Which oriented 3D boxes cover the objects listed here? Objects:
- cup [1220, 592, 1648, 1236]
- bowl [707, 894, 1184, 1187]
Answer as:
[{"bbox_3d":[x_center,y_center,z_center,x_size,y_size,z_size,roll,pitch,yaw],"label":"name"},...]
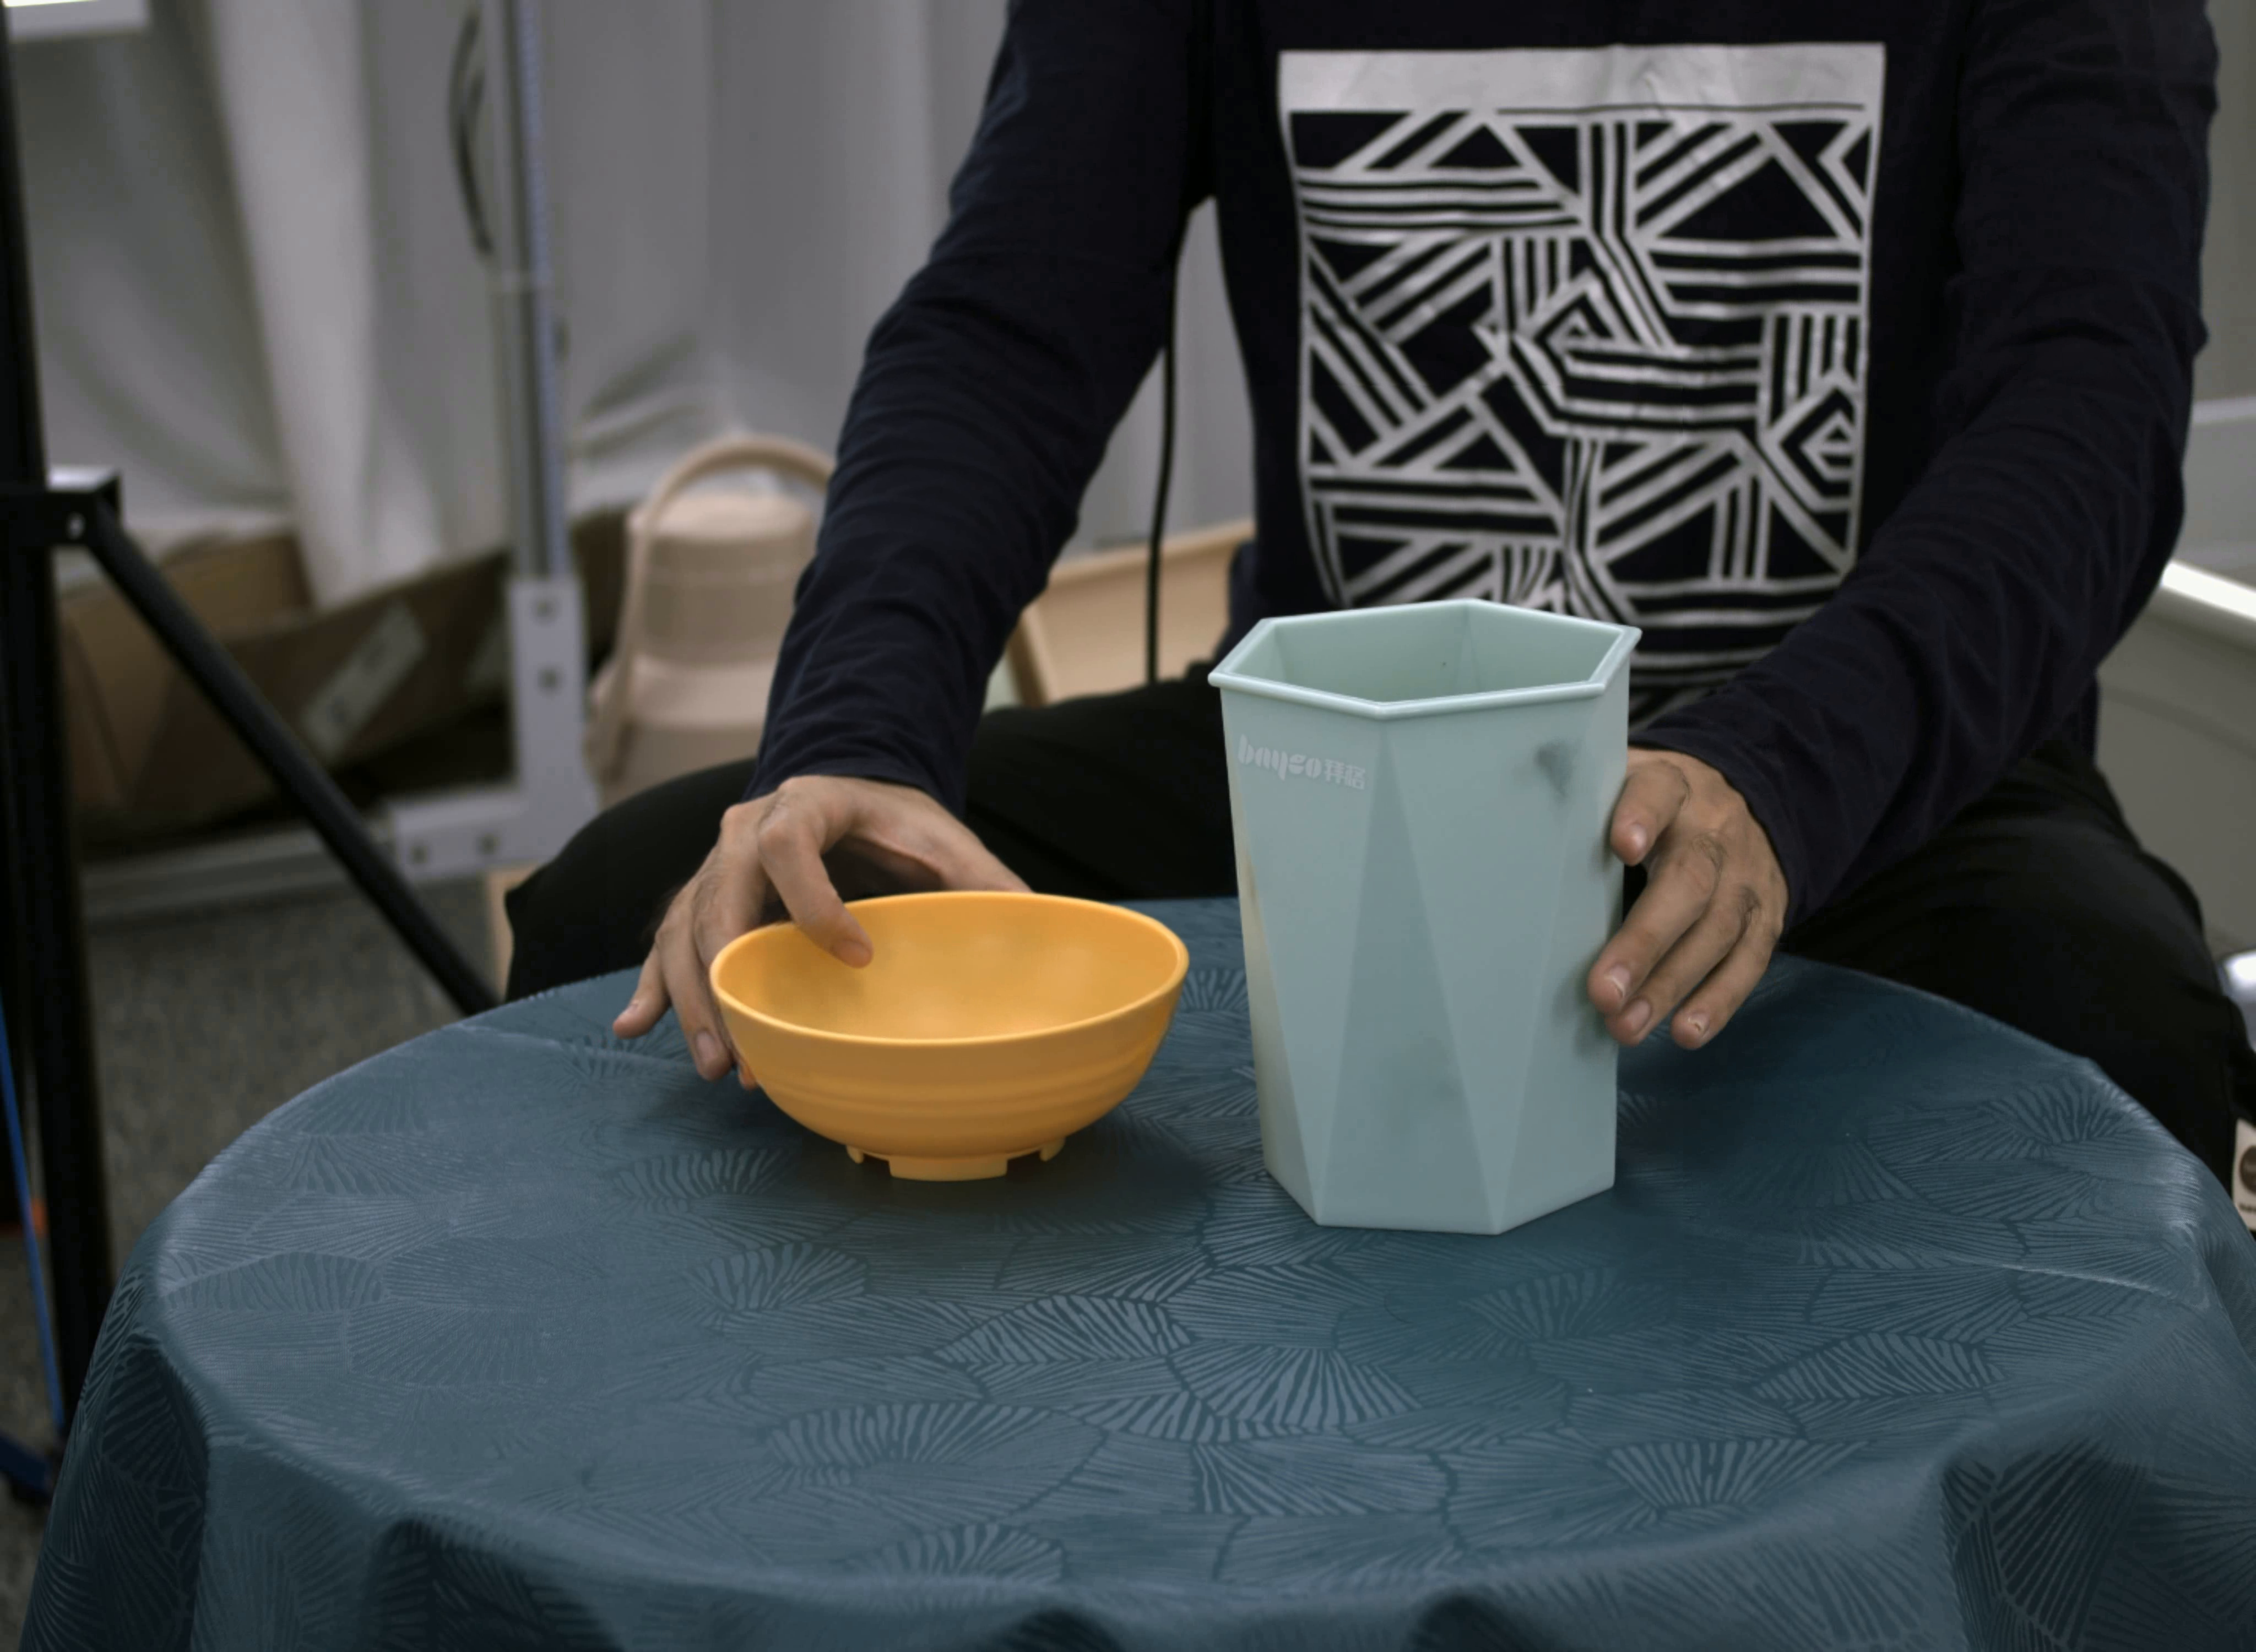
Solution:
[{"bbox_3d":[0.087,0.026,1.538,0.134,0.163,0.112,13,19,41],"label":"cup"},{"bbox_3d":[-0.055,0.070,1.604,0.144,0.060,0.146,0,16,-1],"label":"bowl"}]
